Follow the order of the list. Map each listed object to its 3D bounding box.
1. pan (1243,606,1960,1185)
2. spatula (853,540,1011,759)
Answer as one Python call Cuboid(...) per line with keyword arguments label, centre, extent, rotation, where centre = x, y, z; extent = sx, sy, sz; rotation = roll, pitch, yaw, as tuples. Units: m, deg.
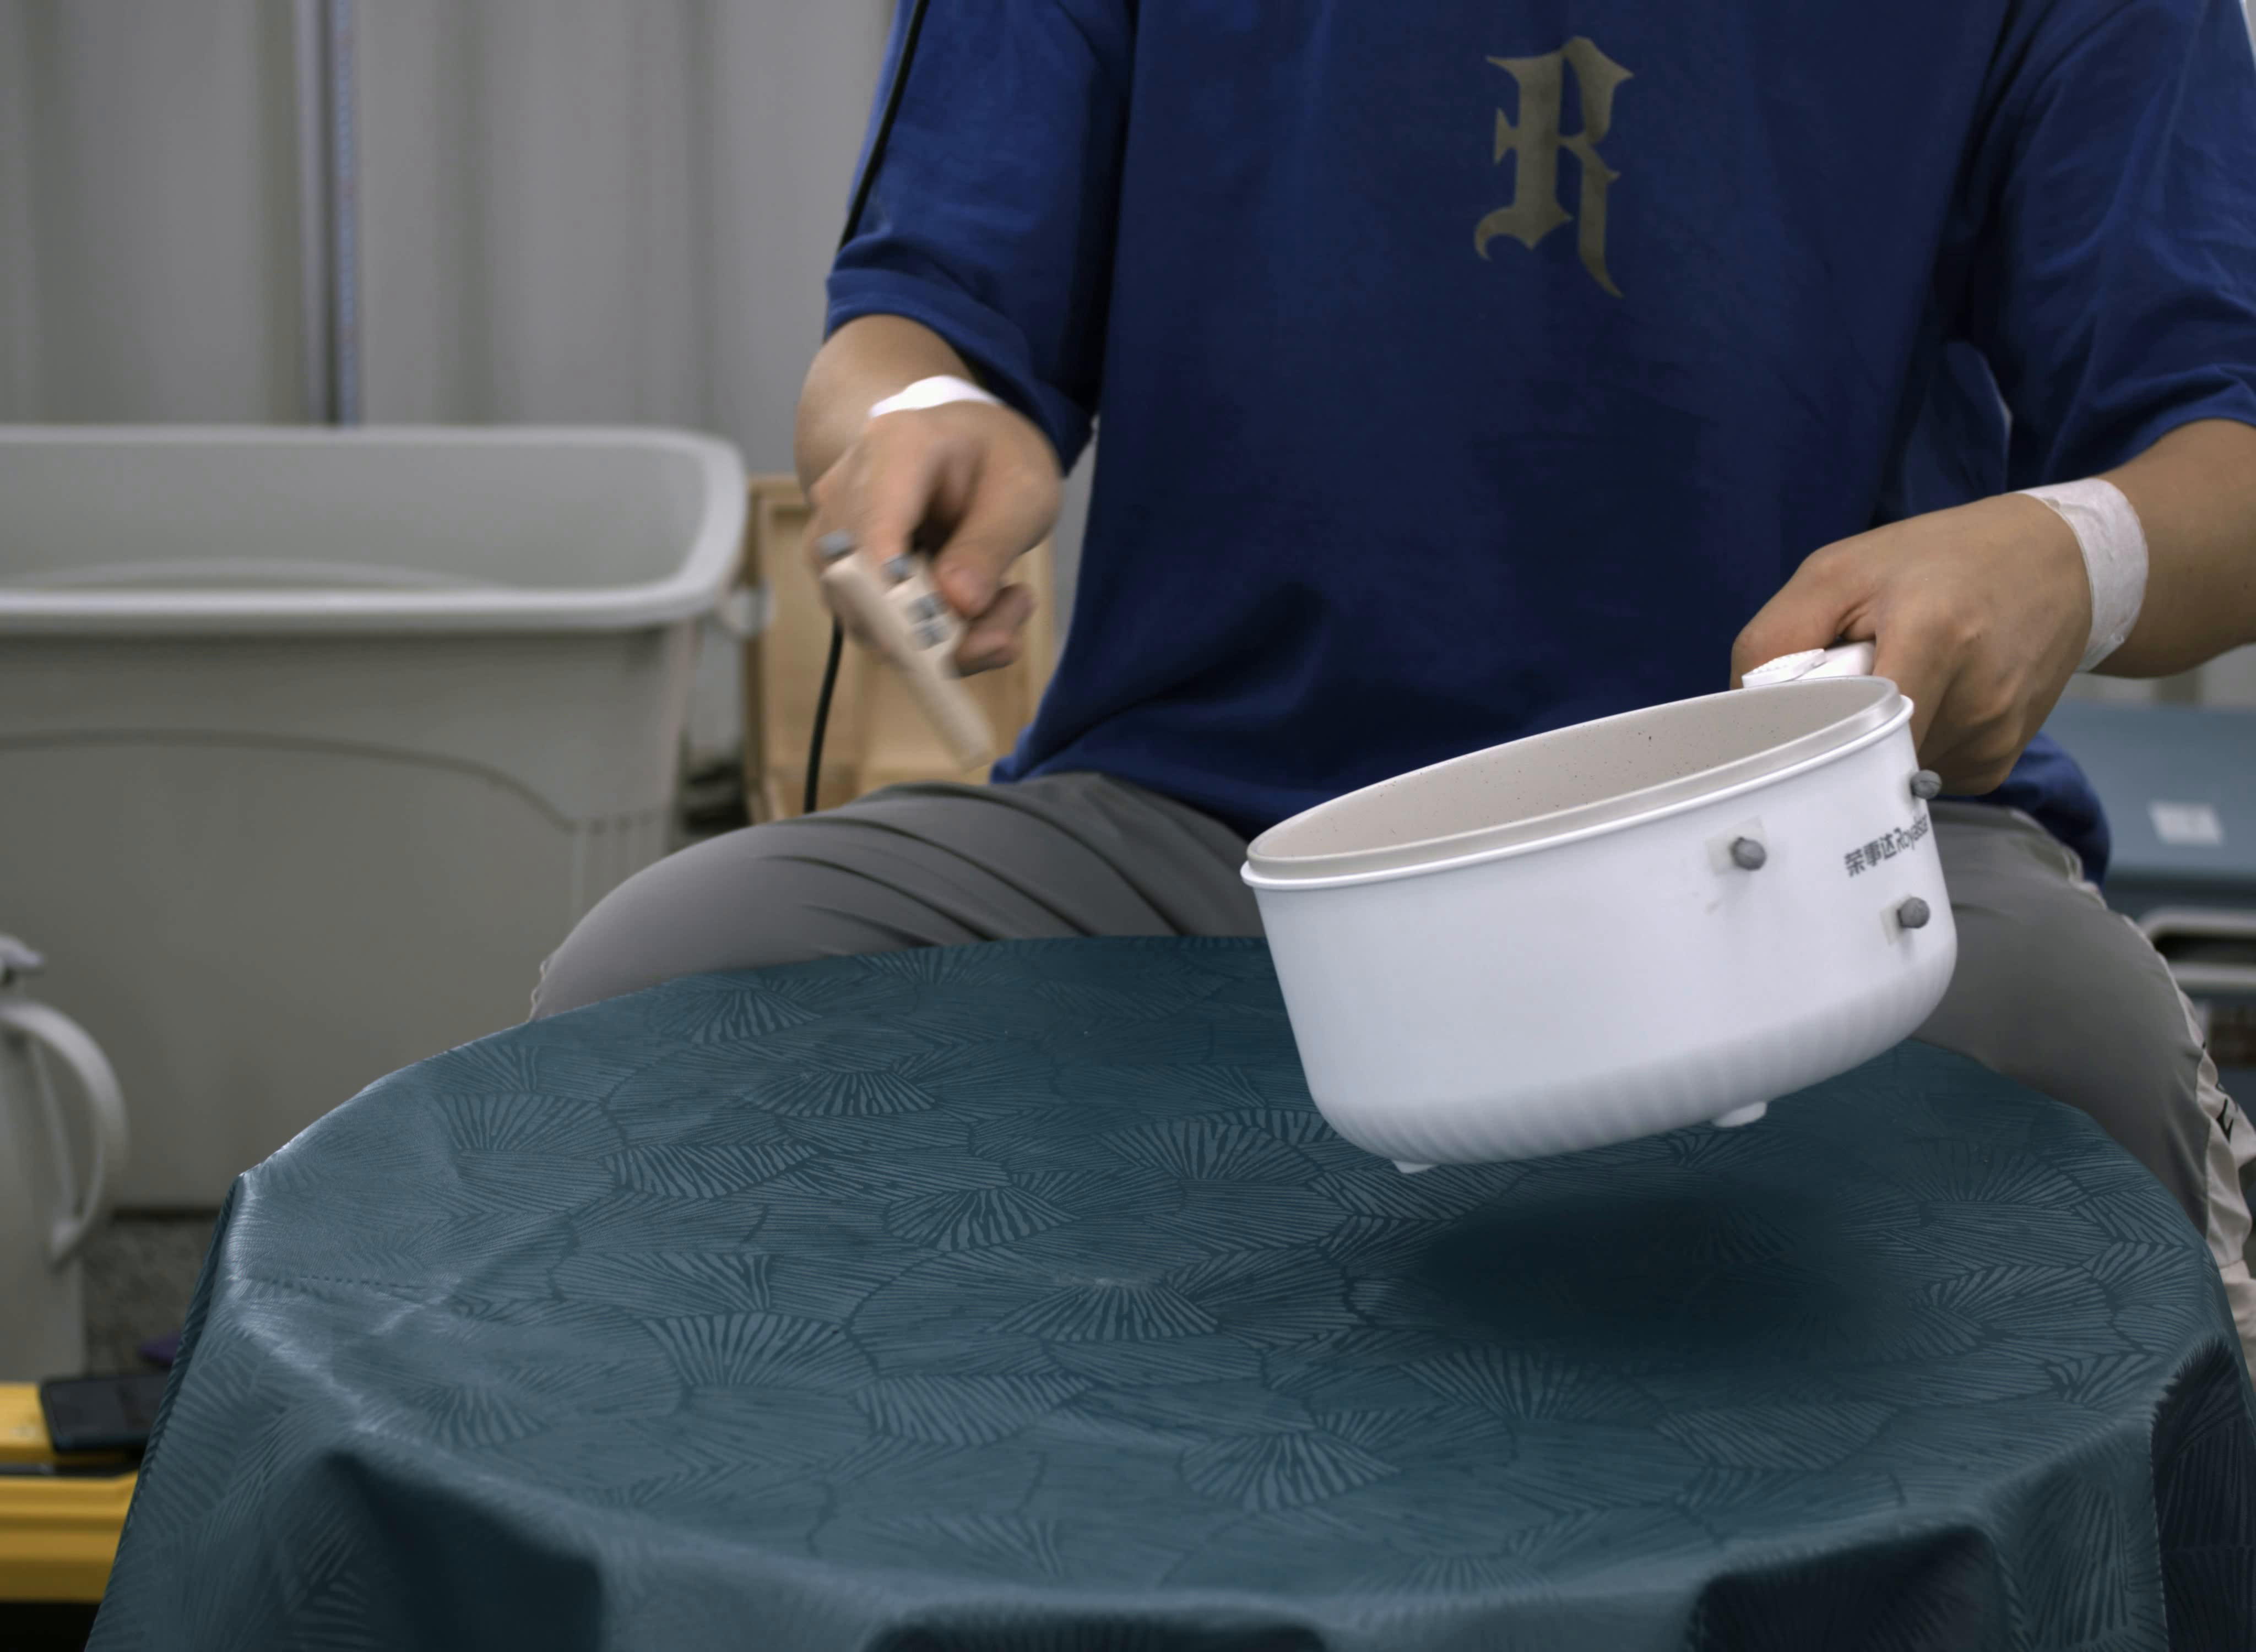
Cuboid(label="pan", centre=(0.178, 0.015, 1.598), extent=(0.199, 0.102, 0.356), rotation=(-13, 6, 31))
Cuboid(label="spatula", centre=(-0.057, -0.067, 1.634), extent=(0.010, 0.072, 0.292), rotation=(-35, 6, 5))
